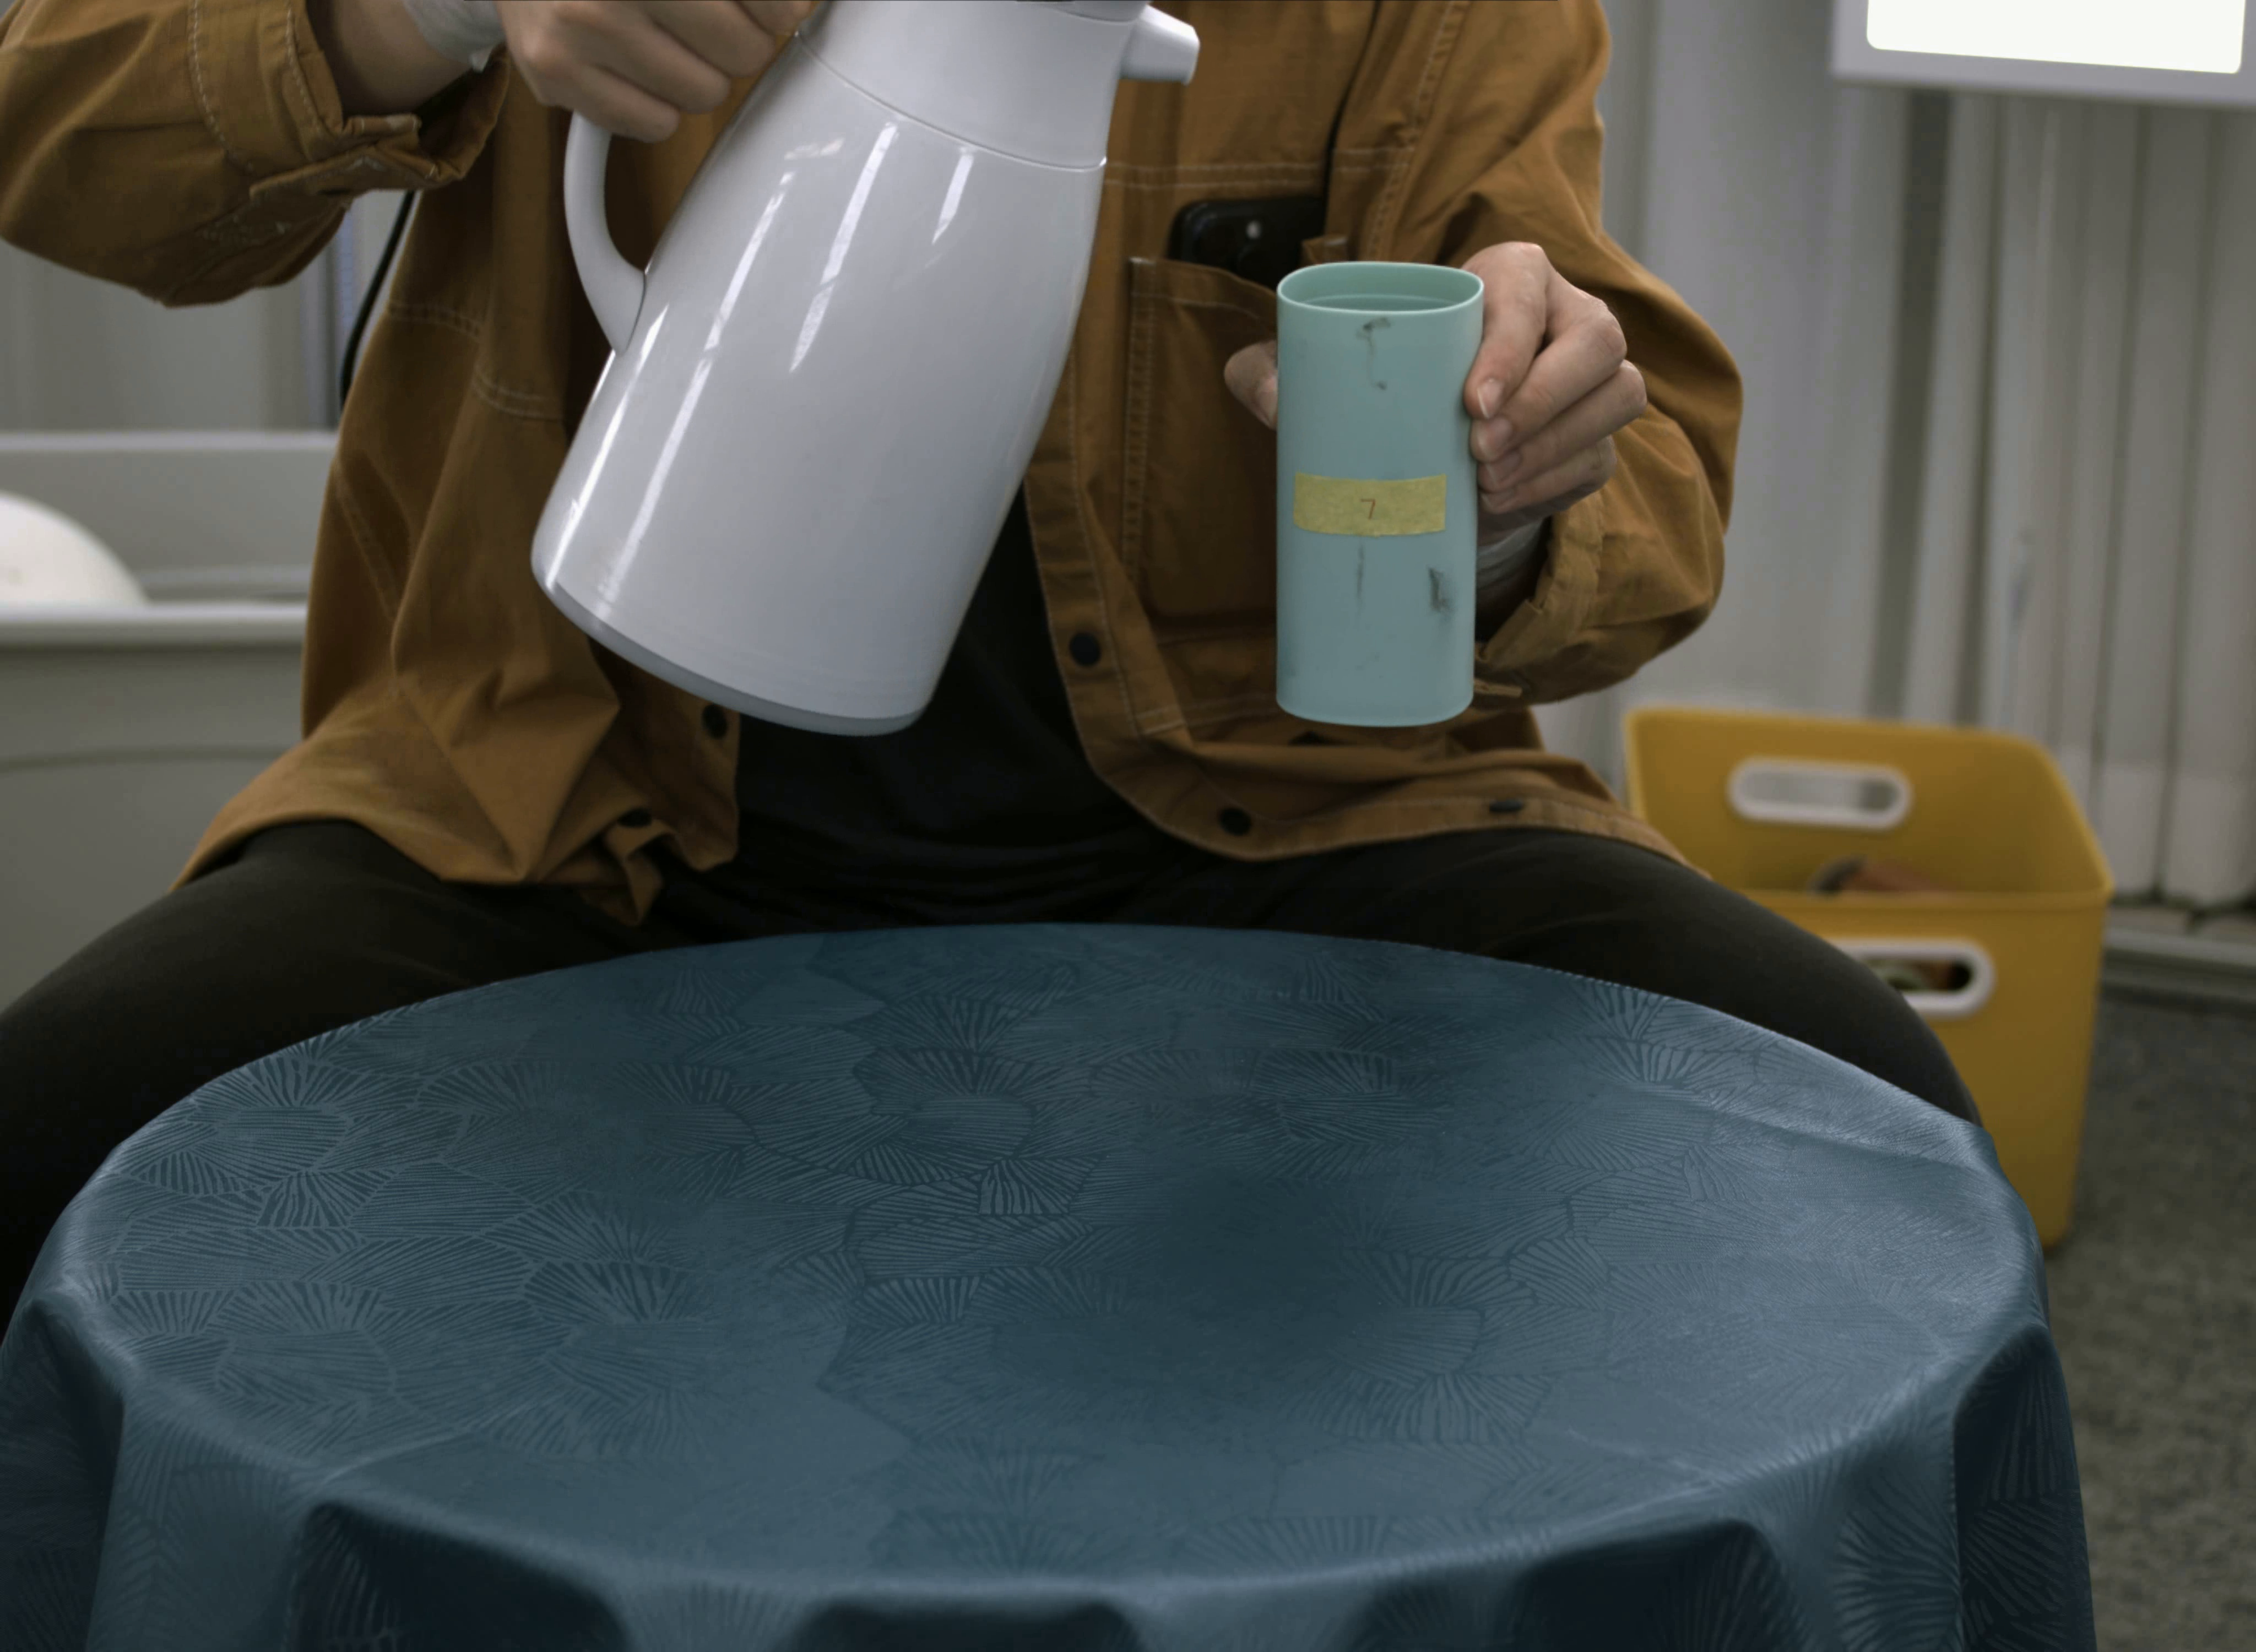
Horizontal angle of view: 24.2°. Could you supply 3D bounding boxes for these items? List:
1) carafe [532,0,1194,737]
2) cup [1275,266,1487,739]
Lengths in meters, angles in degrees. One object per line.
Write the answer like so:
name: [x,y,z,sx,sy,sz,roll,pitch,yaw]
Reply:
carafe: [-0.093,-0.171,1.569,0.168,0.250,0.131,17,22,-16]
cup: [0.076,-0.100,1.605,0.066,0.133,0.066,0,22,0]
